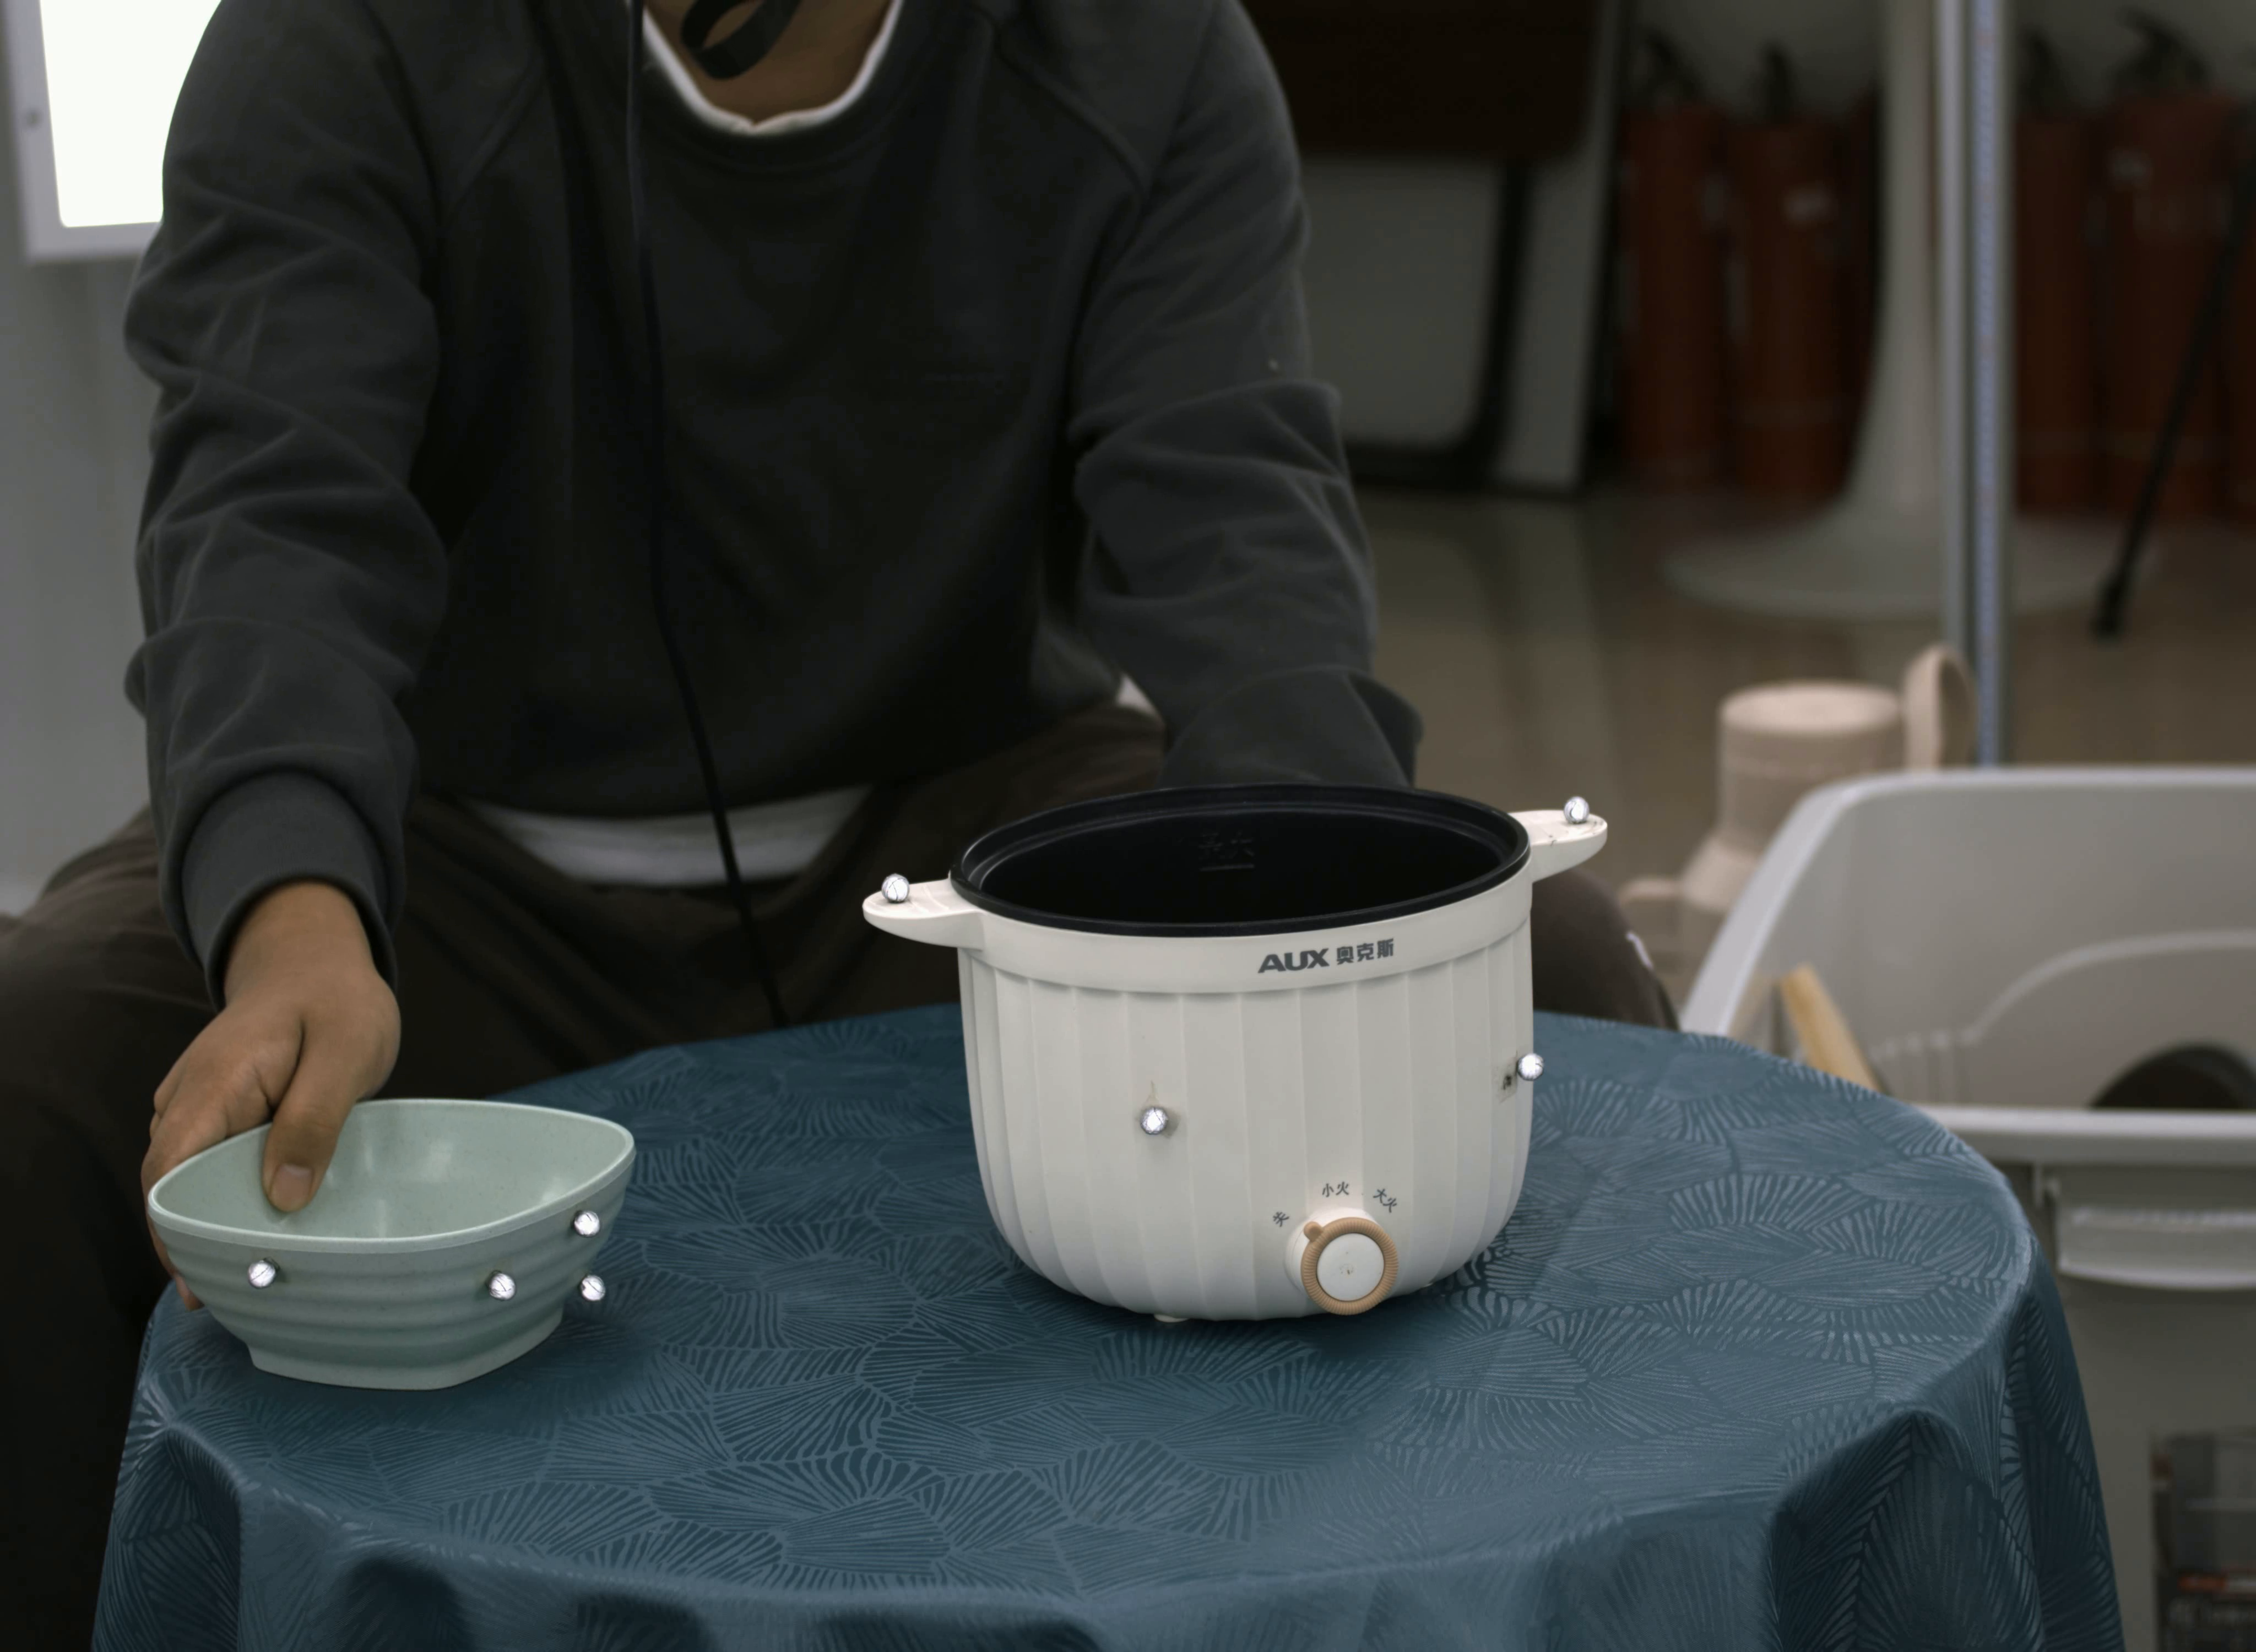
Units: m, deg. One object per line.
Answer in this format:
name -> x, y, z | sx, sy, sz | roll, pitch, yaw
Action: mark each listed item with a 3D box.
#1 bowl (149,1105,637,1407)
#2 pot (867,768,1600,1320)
bowl -> -0.223, 0.135, 1.665 | 0.149, 0.059, 0.152 | -2, 14, 0
pot -> 0.042, 0.070, 1.675 | 0.236, 0.144, 0.192 | -9, 11, -14
